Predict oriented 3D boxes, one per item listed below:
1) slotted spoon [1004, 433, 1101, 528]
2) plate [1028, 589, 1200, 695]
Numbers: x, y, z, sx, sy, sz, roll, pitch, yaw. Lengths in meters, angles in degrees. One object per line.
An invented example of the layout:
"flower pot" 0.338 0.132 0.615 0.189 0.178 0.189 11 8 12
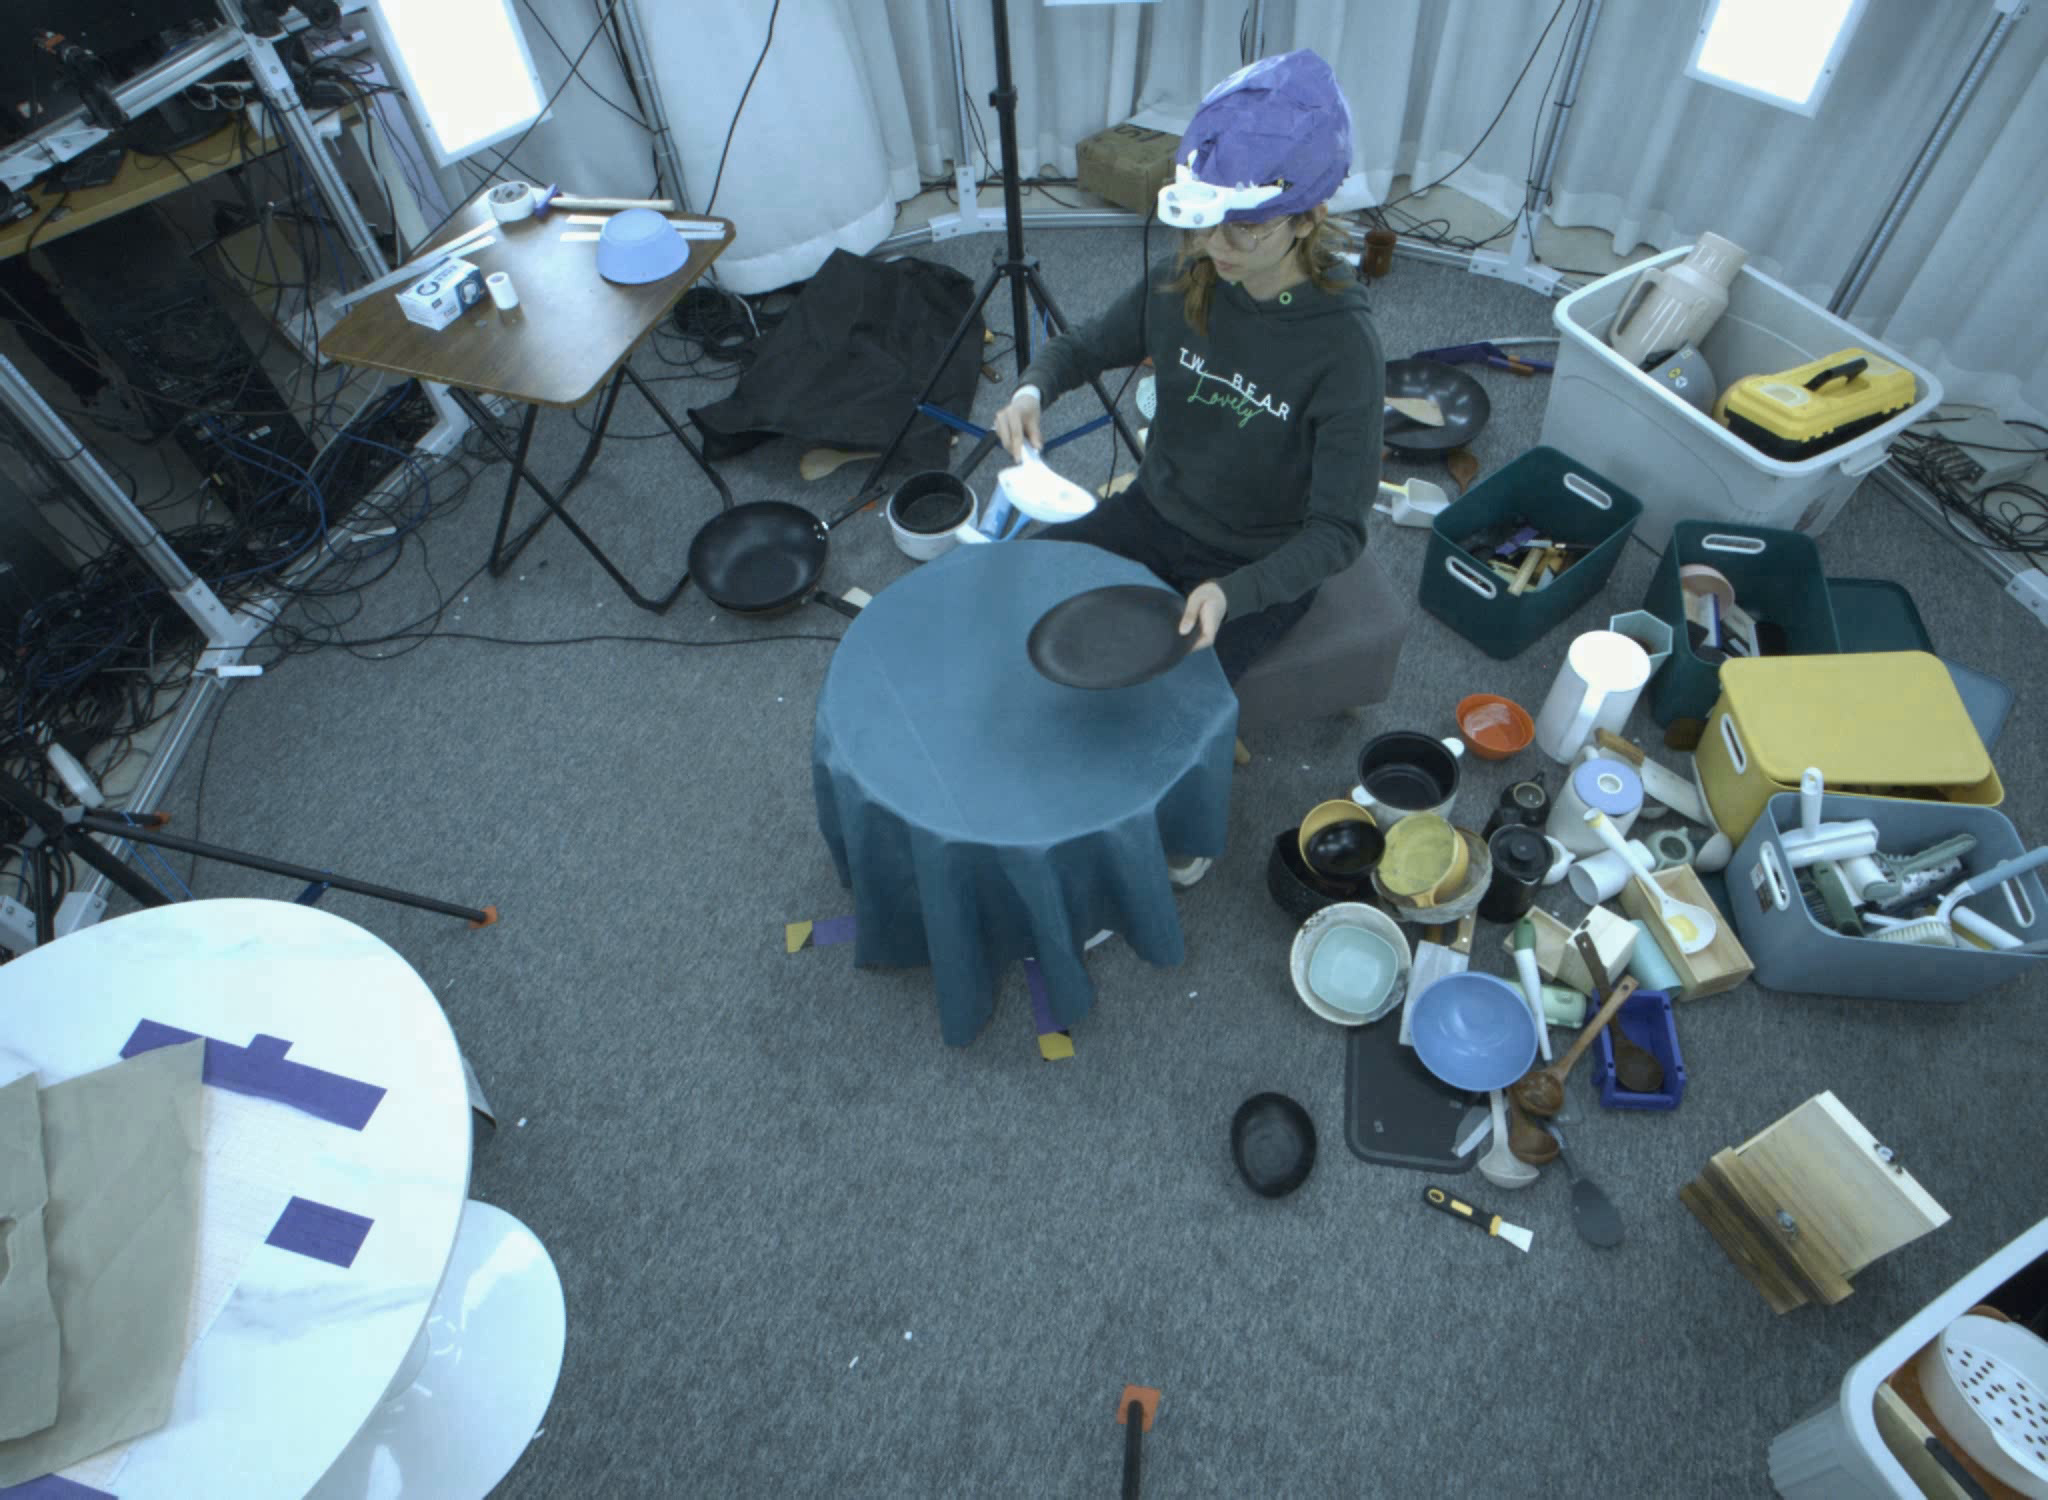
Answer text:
"slotted spoon" 0.023 -0.398 1.760 0.137 0.046 0.344 7 37 -14
"plate" 0.126 -0.149 1.730 0.243 0.024 0.242 -6 41 7
